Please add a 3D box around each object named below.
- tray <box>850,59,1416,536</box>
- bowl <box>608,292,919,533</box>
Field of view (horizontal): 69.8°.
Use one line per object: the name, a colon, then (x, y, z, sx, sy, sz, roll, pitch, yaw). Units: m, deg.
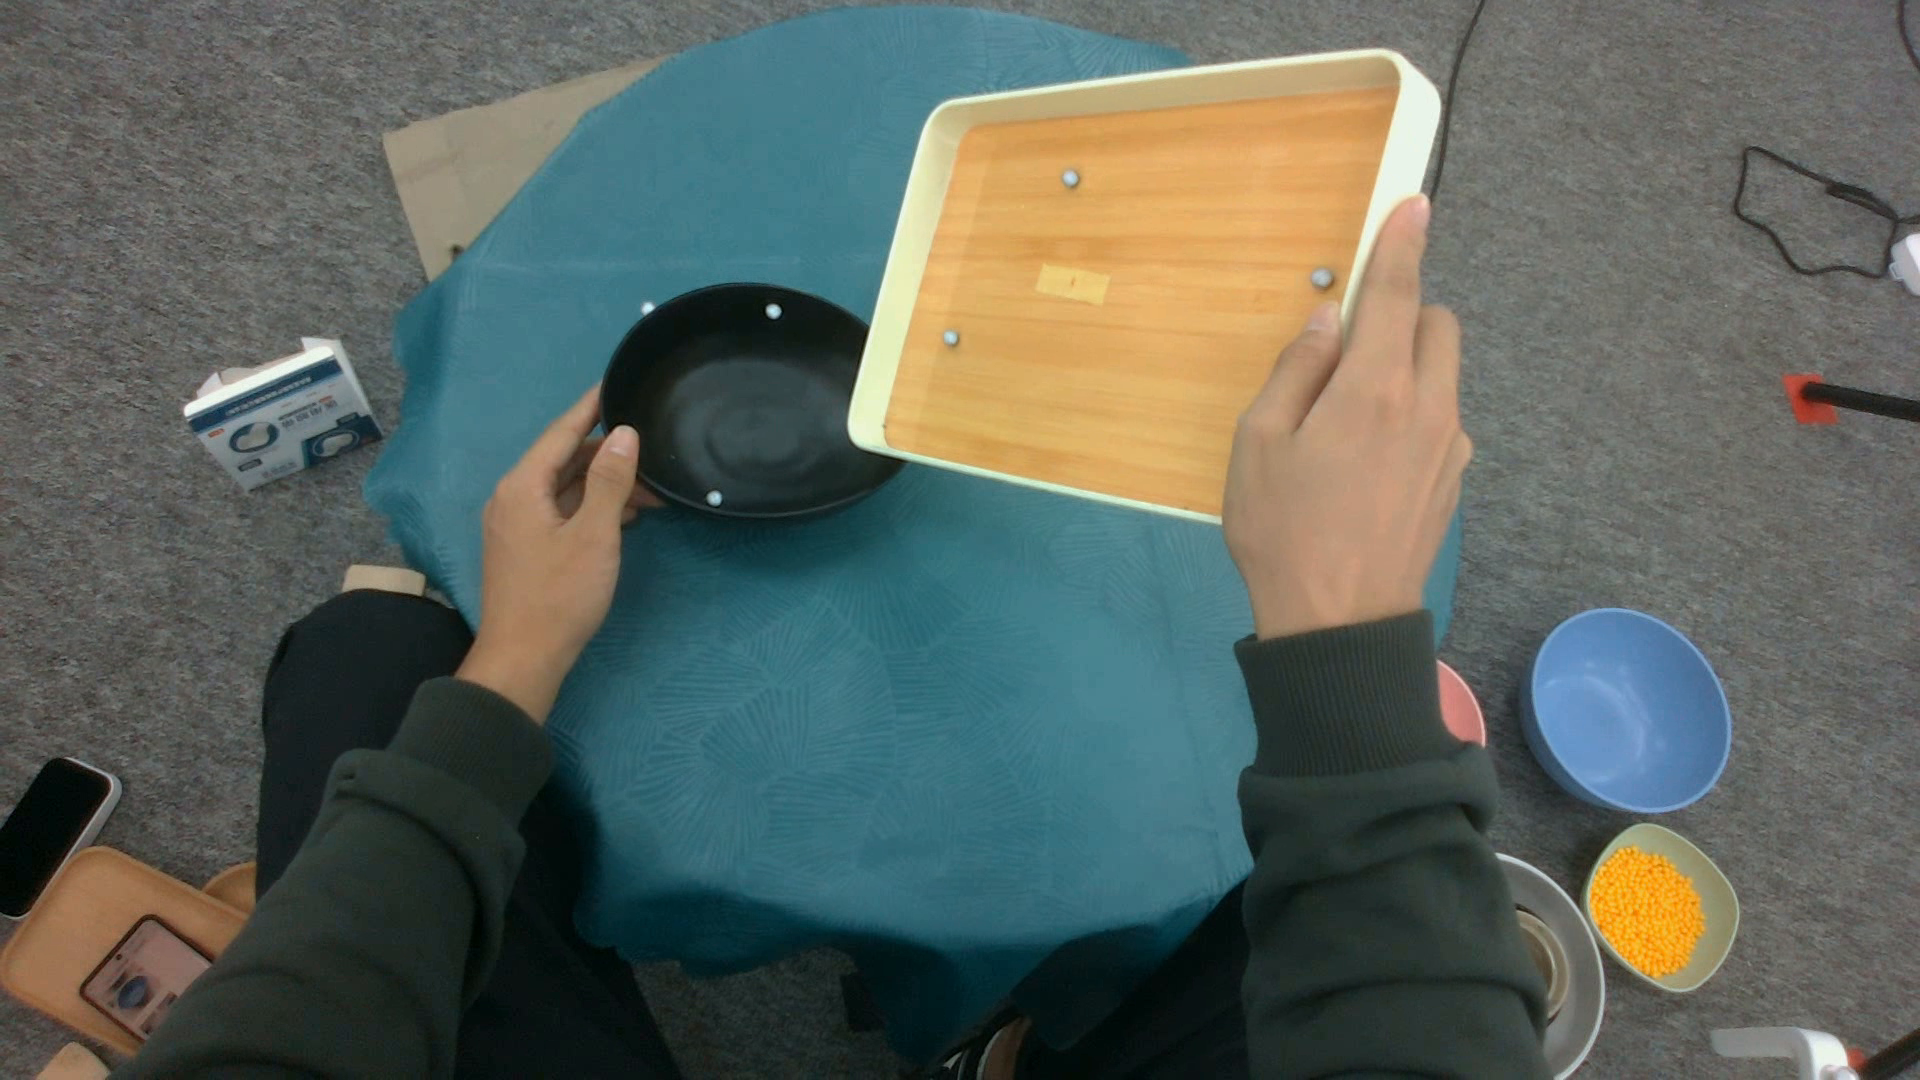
tray: (0.060, -0.116, 0.647, 0.027, 0.300, 0.191, 14, 90, -40)
bowl: (-0.107, -0.062, 0.760, 0.170, 0.066, 0.137, -3, 71, -17)
